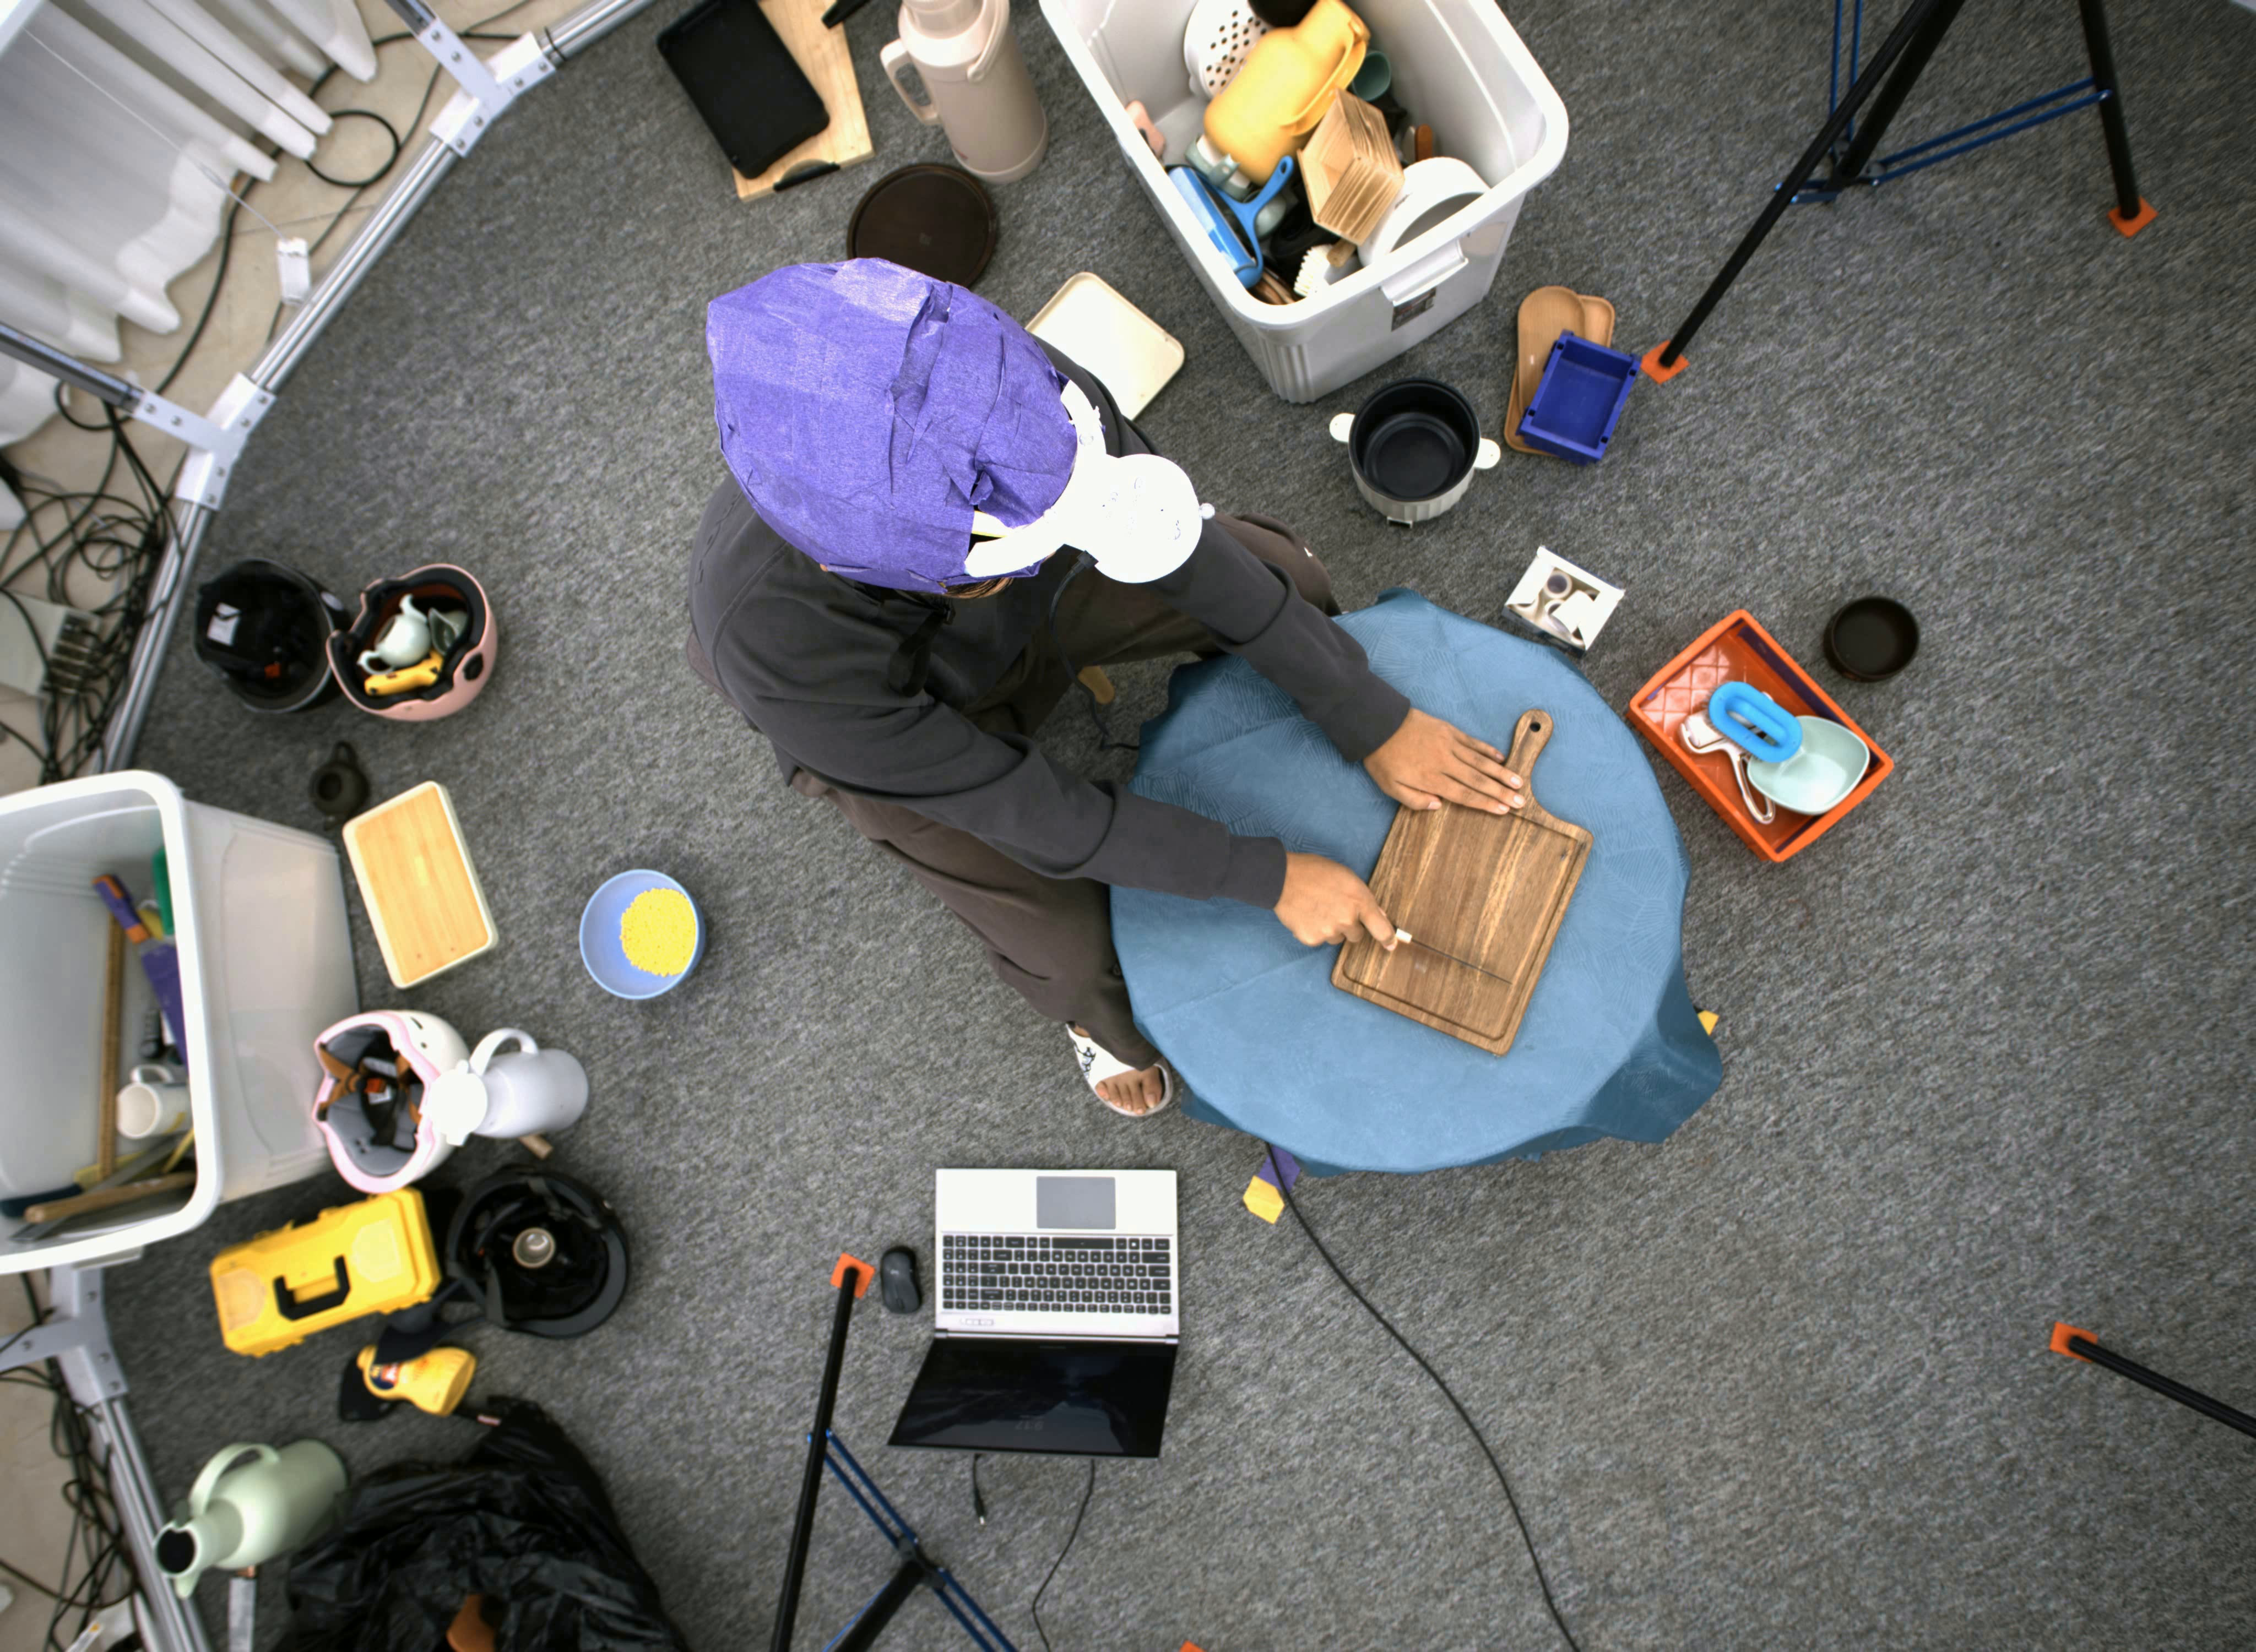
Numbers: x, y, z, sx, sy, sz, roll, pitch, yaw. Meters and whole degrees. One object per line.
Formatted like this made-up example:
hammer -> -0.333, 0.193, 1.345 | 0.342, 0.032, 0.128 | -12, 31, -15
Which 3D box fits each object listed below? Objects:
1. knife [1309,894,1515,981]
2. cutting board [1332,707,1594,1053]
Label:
knife -> 0.293, 0.116, 1.425 | 0.225, 0.026, 0.017 | 22, 98, 9
cutting board -> 0.366, 0.038, 1.433 | 0.201, 0.023, 0.352 | 23, 91, 11
